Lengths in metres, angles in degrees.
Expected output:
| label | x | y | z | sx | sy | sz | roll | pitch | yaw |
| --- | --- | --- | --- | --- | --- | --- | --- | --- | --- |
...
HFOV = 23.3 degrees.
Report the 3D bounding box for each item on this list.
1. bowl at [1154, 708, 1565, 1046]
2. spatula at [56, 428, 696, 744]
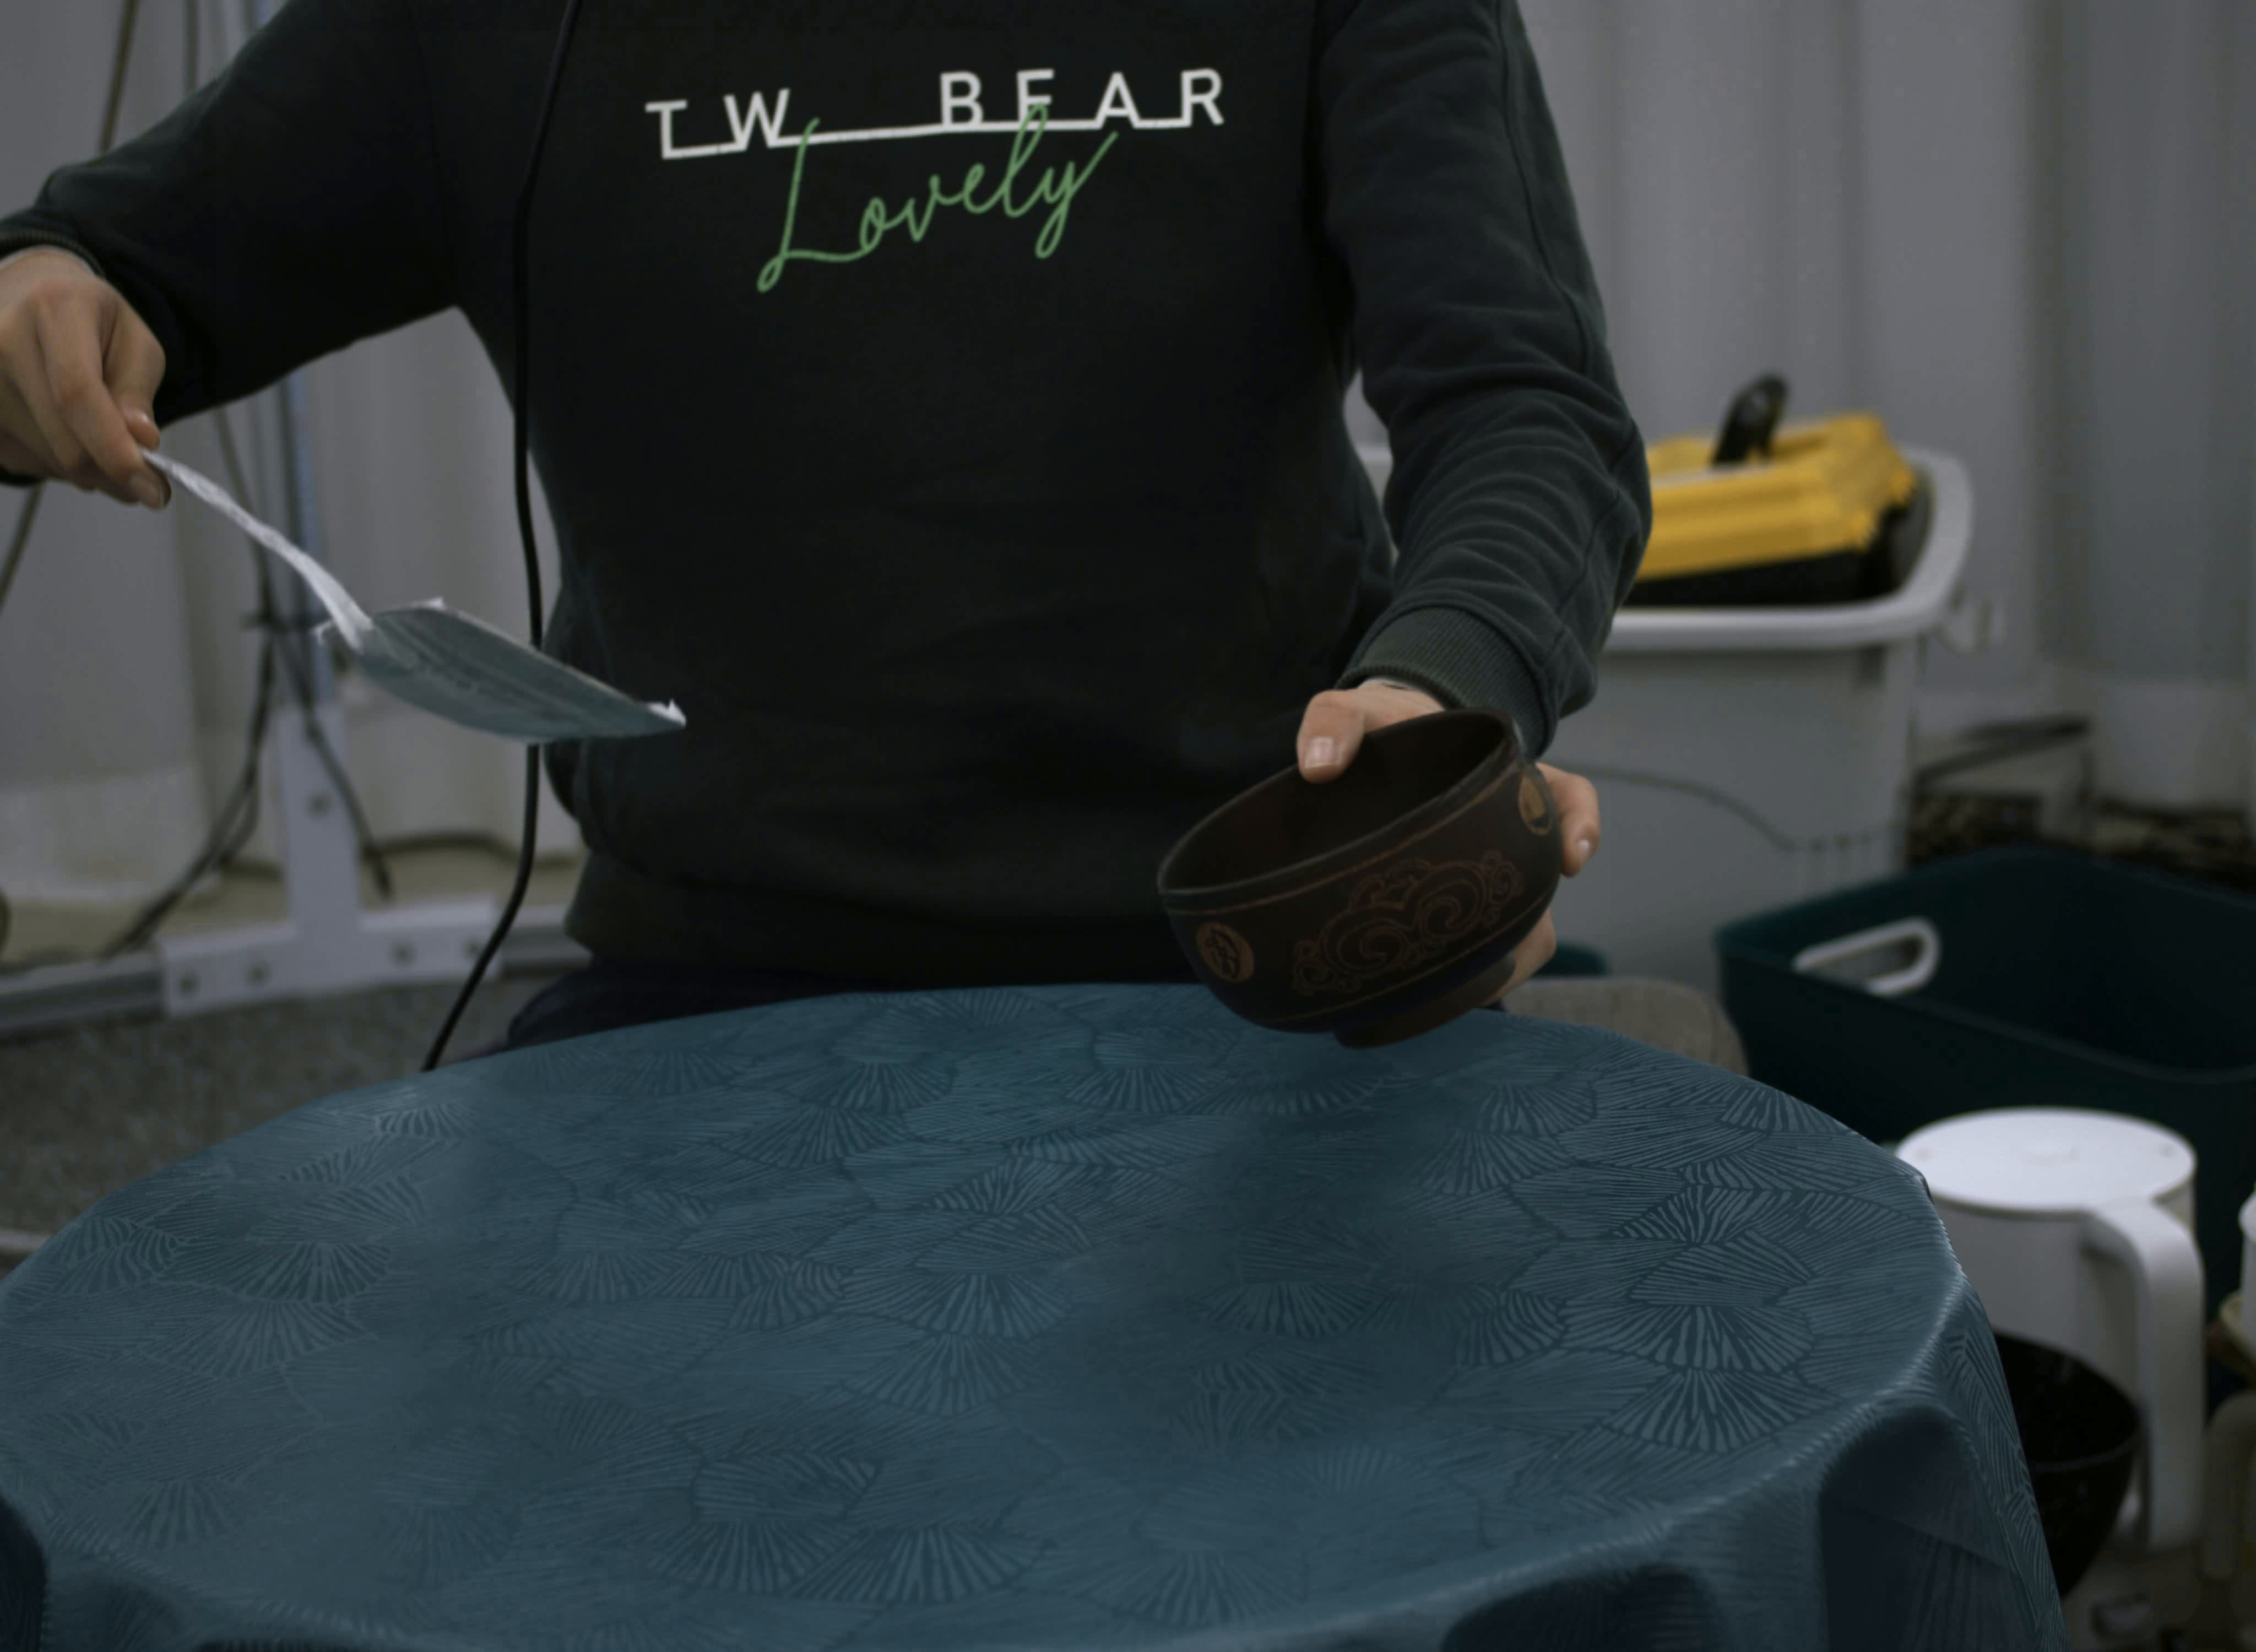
| label | x | y | z | sx | sy | sz | roll | pitch | yaw |
| --- | --- | --- | --- | --- | --- | --- | --- | --- | --- |
| bowl | 0.073 | 0.021 | 1.592 | 0.118 | 0.069 | 0.119 | -22 | 12 | 4 |
| spatula | -0.254 | -0.085 | 1.685 | 0.097 | 0.045 | 0.368 | 24 | 6 | -38 |
